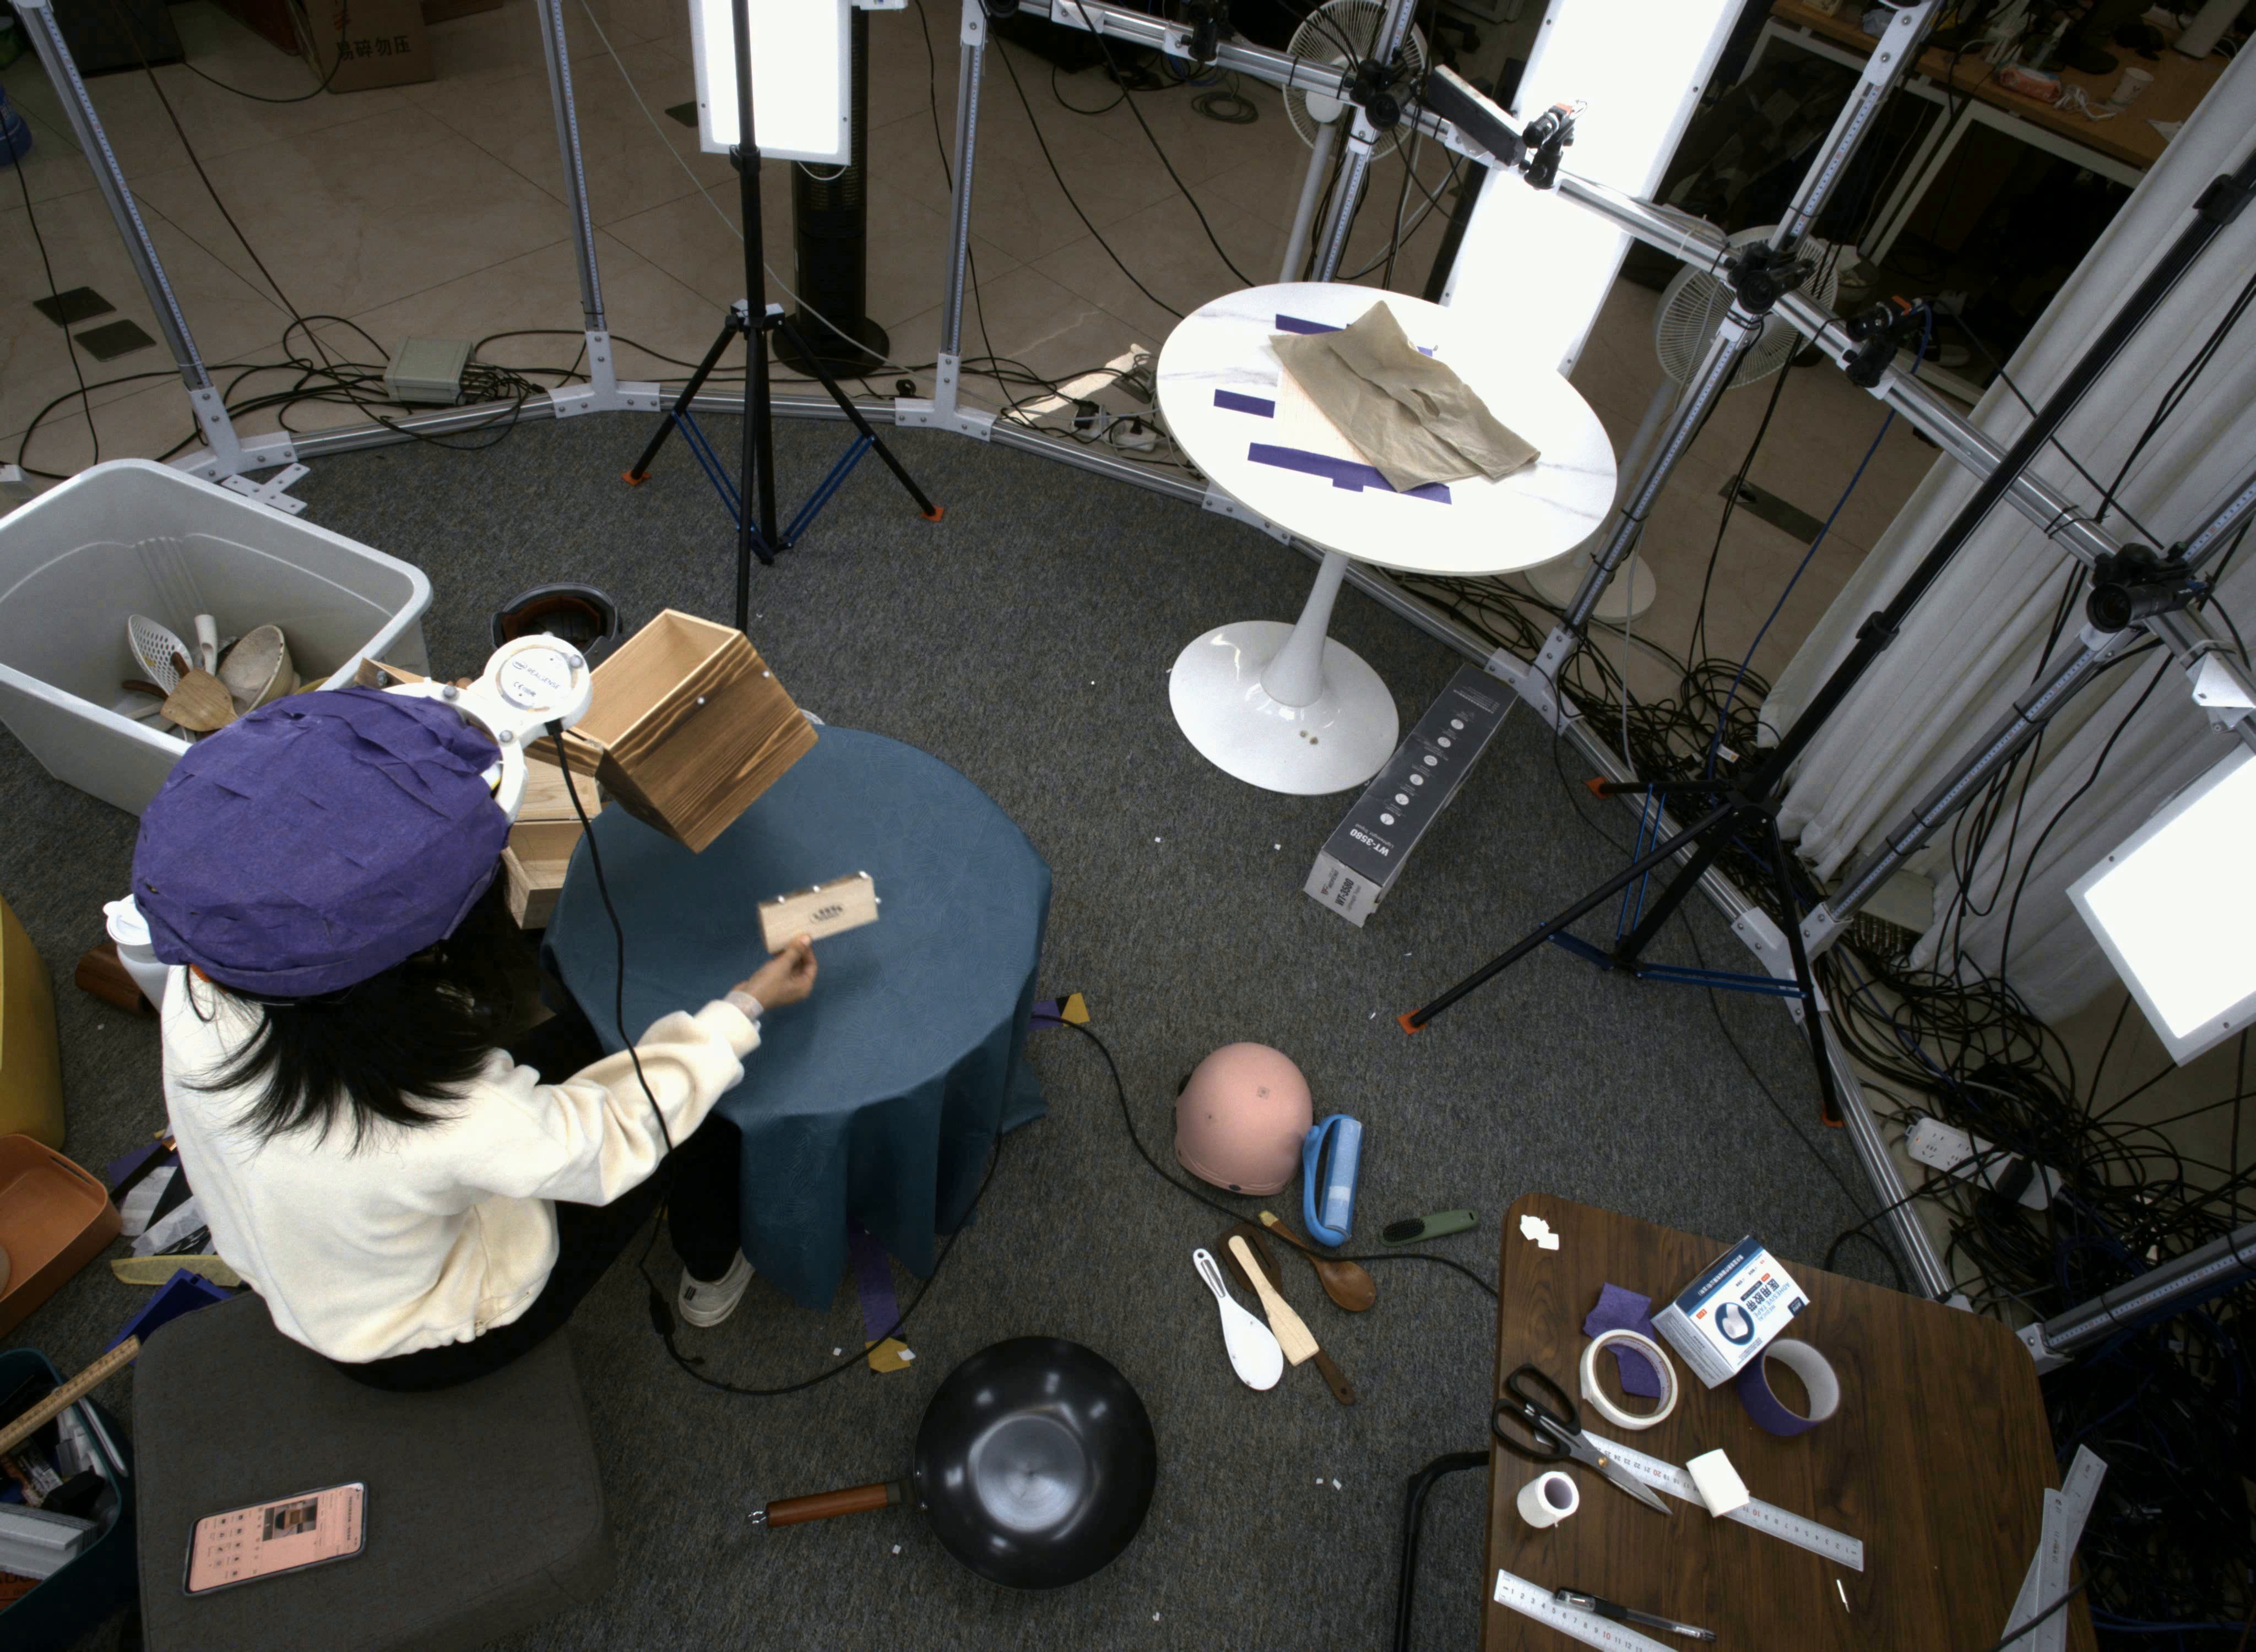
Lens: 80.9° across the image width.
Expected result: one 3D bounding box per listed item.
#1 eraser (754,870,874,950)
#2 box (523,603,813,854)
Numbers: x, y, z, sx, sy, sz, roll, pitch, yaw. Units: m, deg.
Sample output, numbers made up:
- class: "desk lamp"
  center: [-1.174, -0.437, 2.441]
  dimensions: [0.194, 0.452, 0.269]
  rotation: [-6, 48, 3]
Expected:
- class: "eraser"
  center: [-0.372, 0.096, 1.534]
  dimensions: [0.140, 0.059, 0.028]
  rotation: [-17, 27, -32]
- class: "box"
  center: [-0.597, -0.154, 1.423]
  dimensions: [0.201, 0.390, 0.322]
  rotation: [20, 59, 42]
